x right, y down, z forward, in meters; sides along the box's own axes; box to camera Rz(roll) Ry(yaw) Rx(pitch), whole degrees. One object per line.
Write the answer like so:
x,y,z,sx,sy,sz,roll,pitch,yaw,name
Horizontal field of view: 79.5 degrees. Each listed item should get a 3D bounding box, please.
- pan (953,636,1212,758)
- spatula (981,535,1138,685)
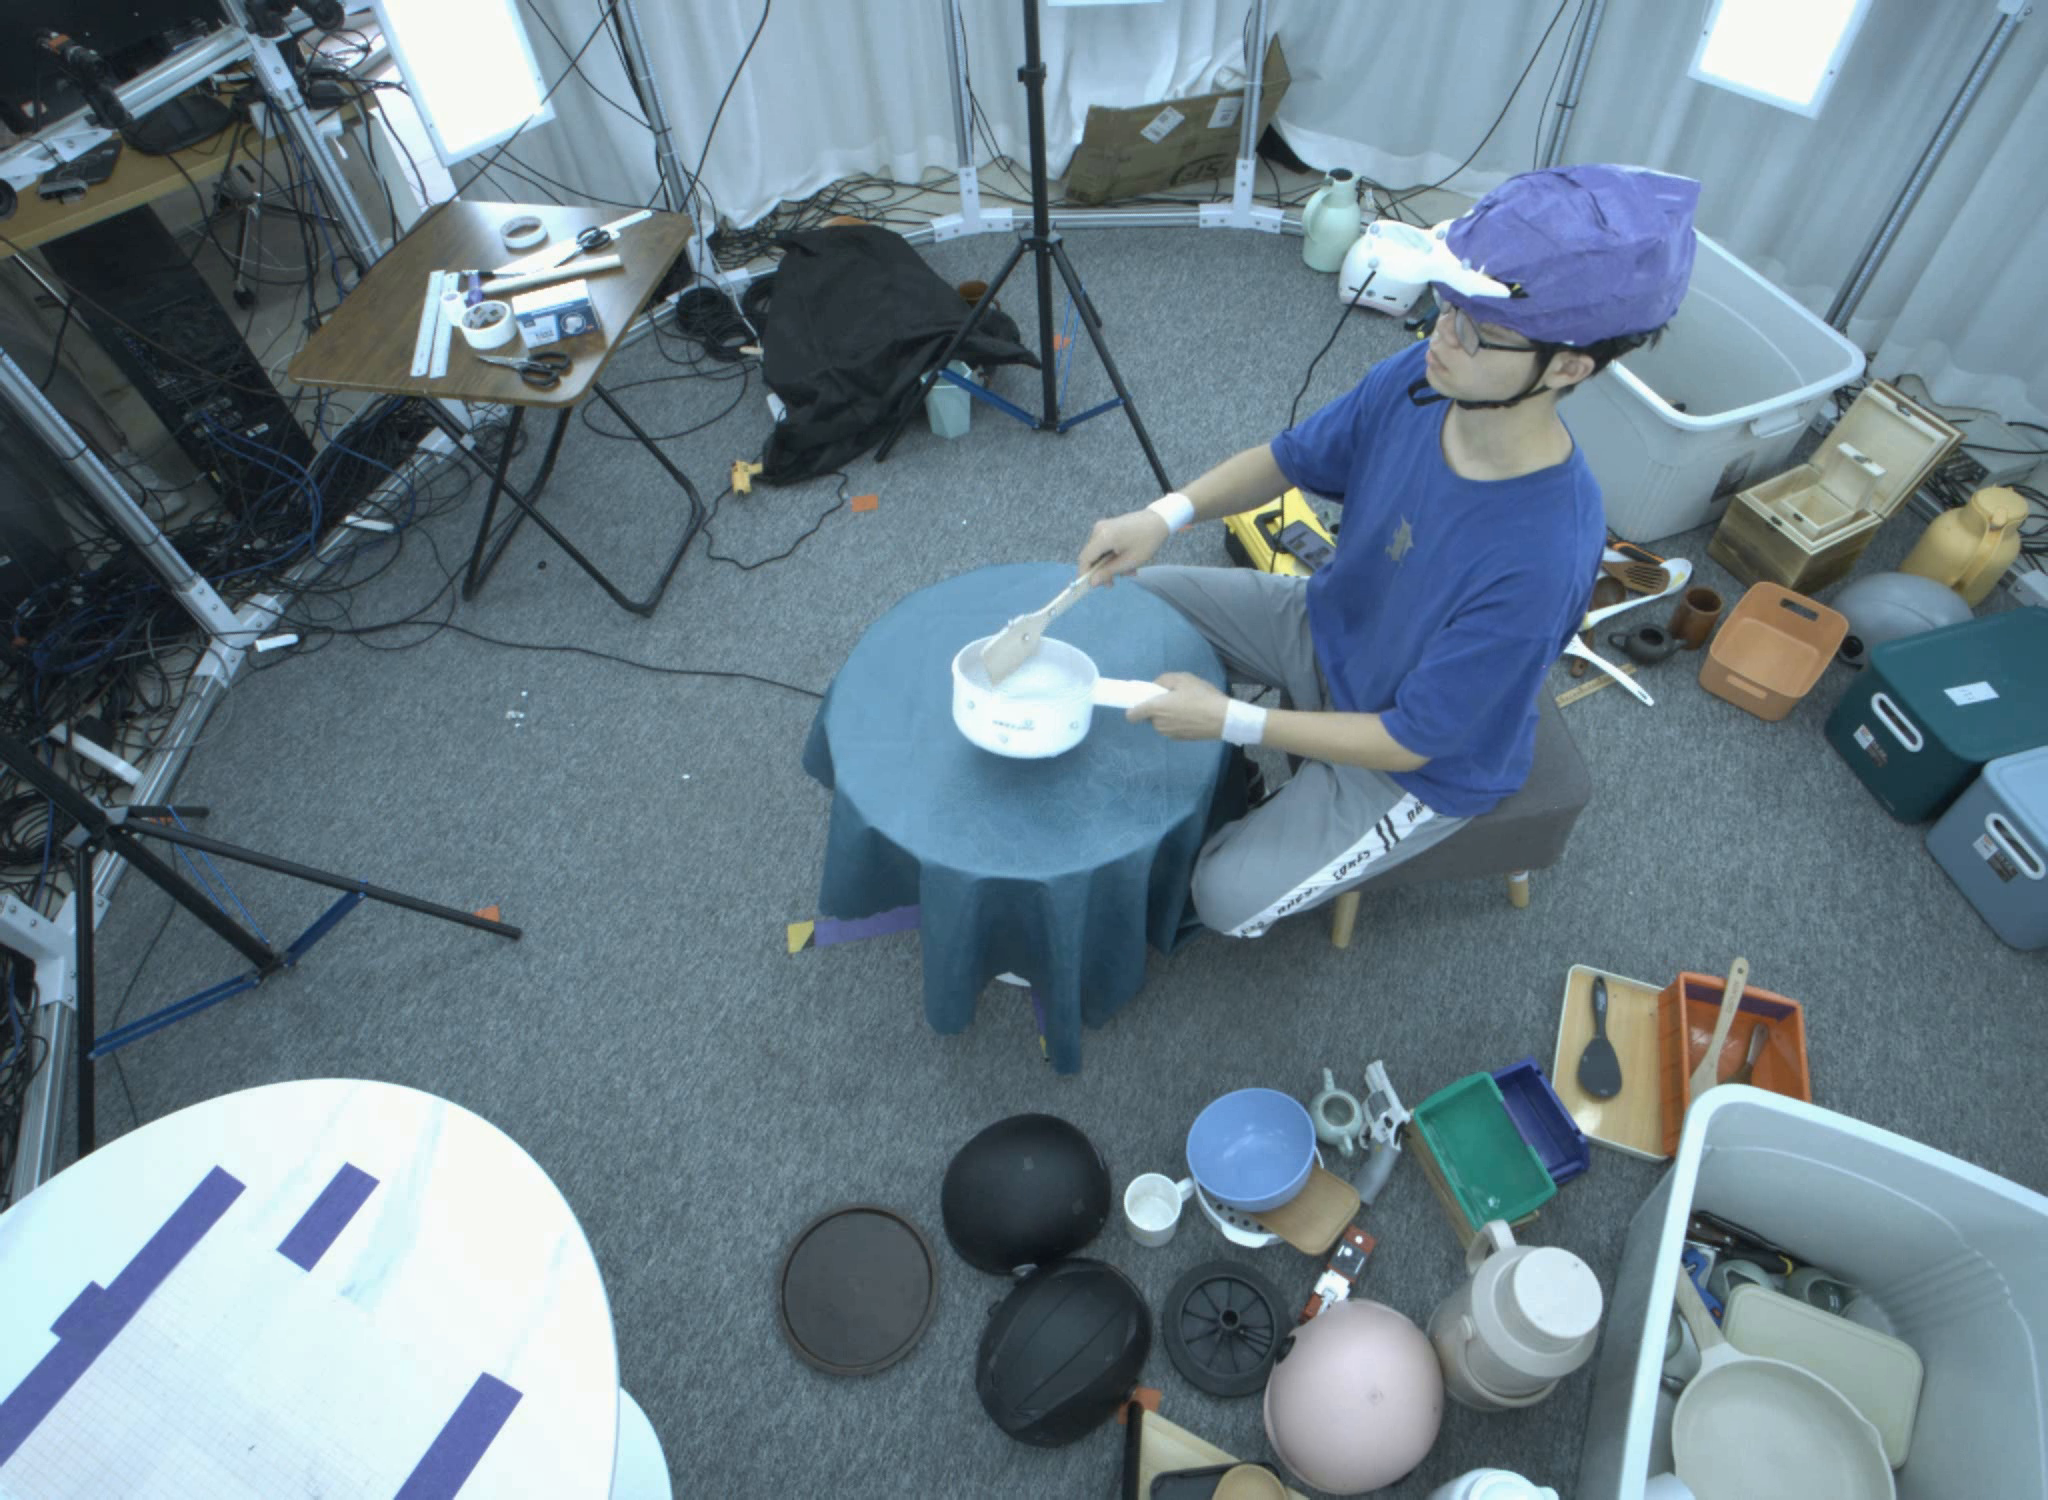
0.076,-0.060,1.694,0.354,0.103,0.200,8,31,1,pan
0.053,-0.204,1.707,0.294,0.073,0.010,-42,57,-13,spatula
